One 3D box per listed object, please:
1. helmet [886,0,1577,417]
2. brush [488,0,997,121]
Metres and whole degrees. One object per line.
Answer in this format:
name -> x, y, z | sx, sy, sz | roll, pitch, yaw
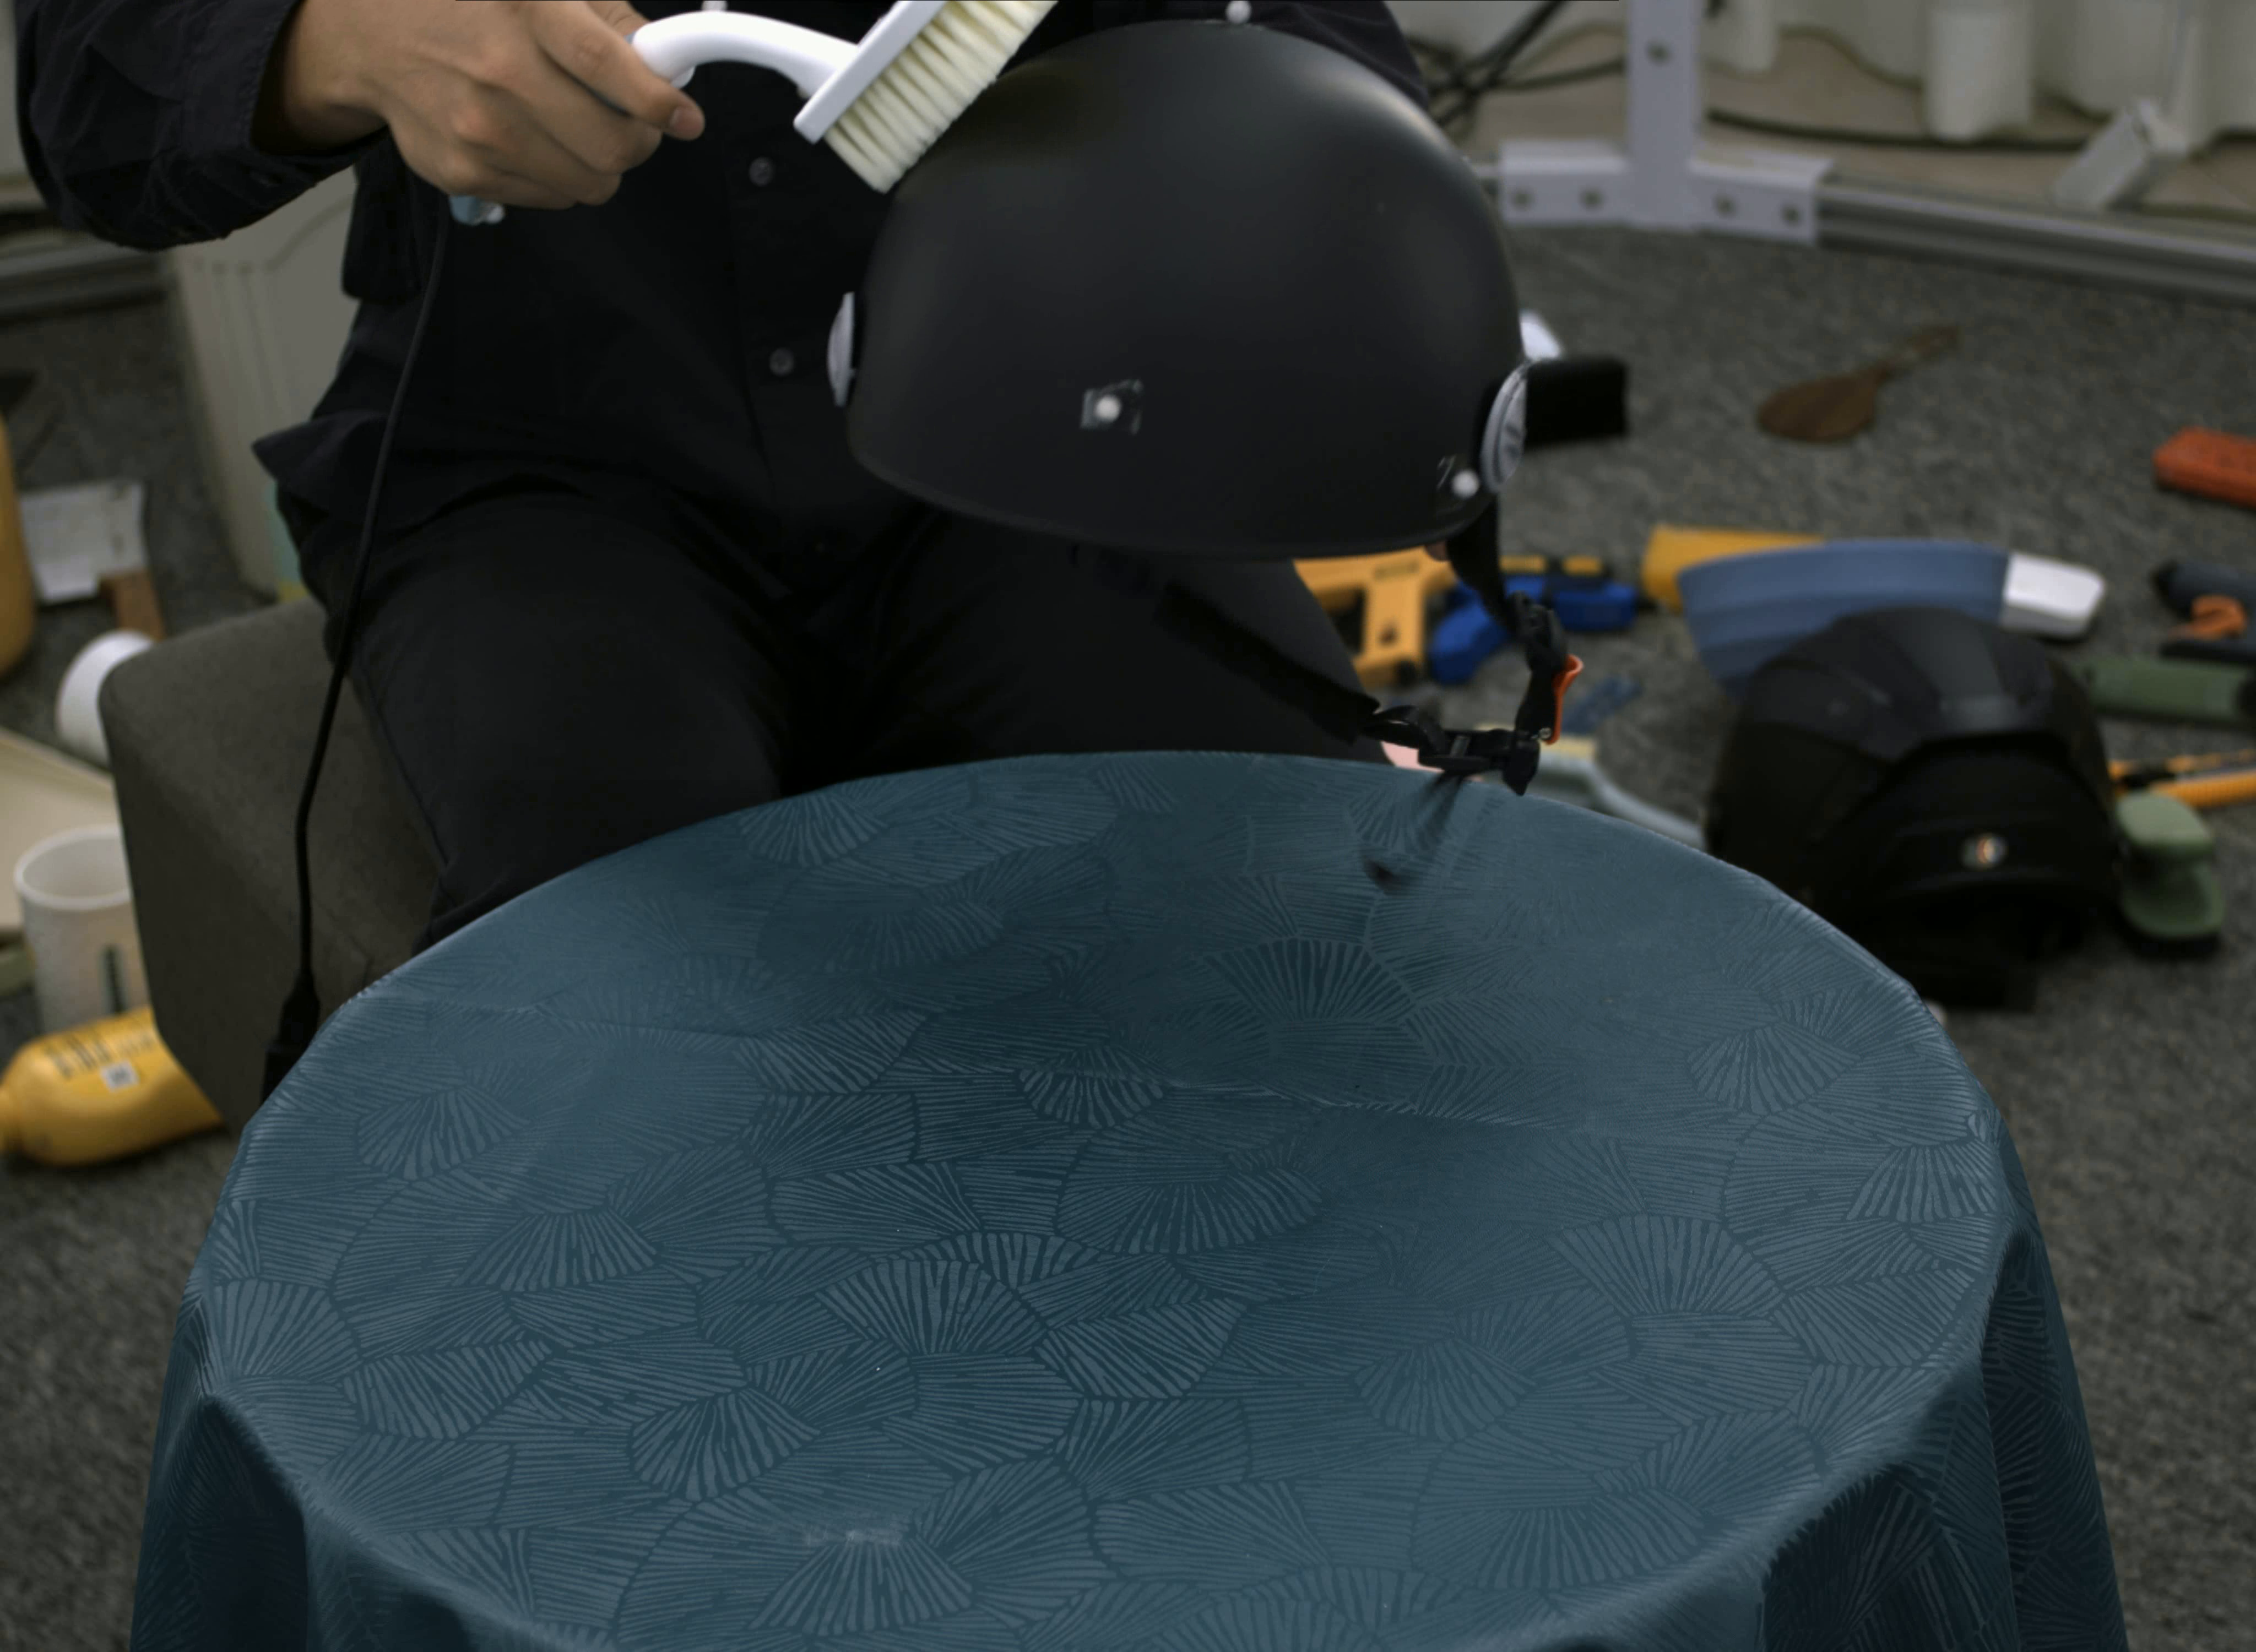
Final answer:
helmet -> 0.041, -0.223, 1.884 | 0.229, 0.166, 0.275 | 6, 10, 8
brush -> -0.102, -0.278, 1.930 | 0.083, 0.085, 0.321 | -4, -10, -41
